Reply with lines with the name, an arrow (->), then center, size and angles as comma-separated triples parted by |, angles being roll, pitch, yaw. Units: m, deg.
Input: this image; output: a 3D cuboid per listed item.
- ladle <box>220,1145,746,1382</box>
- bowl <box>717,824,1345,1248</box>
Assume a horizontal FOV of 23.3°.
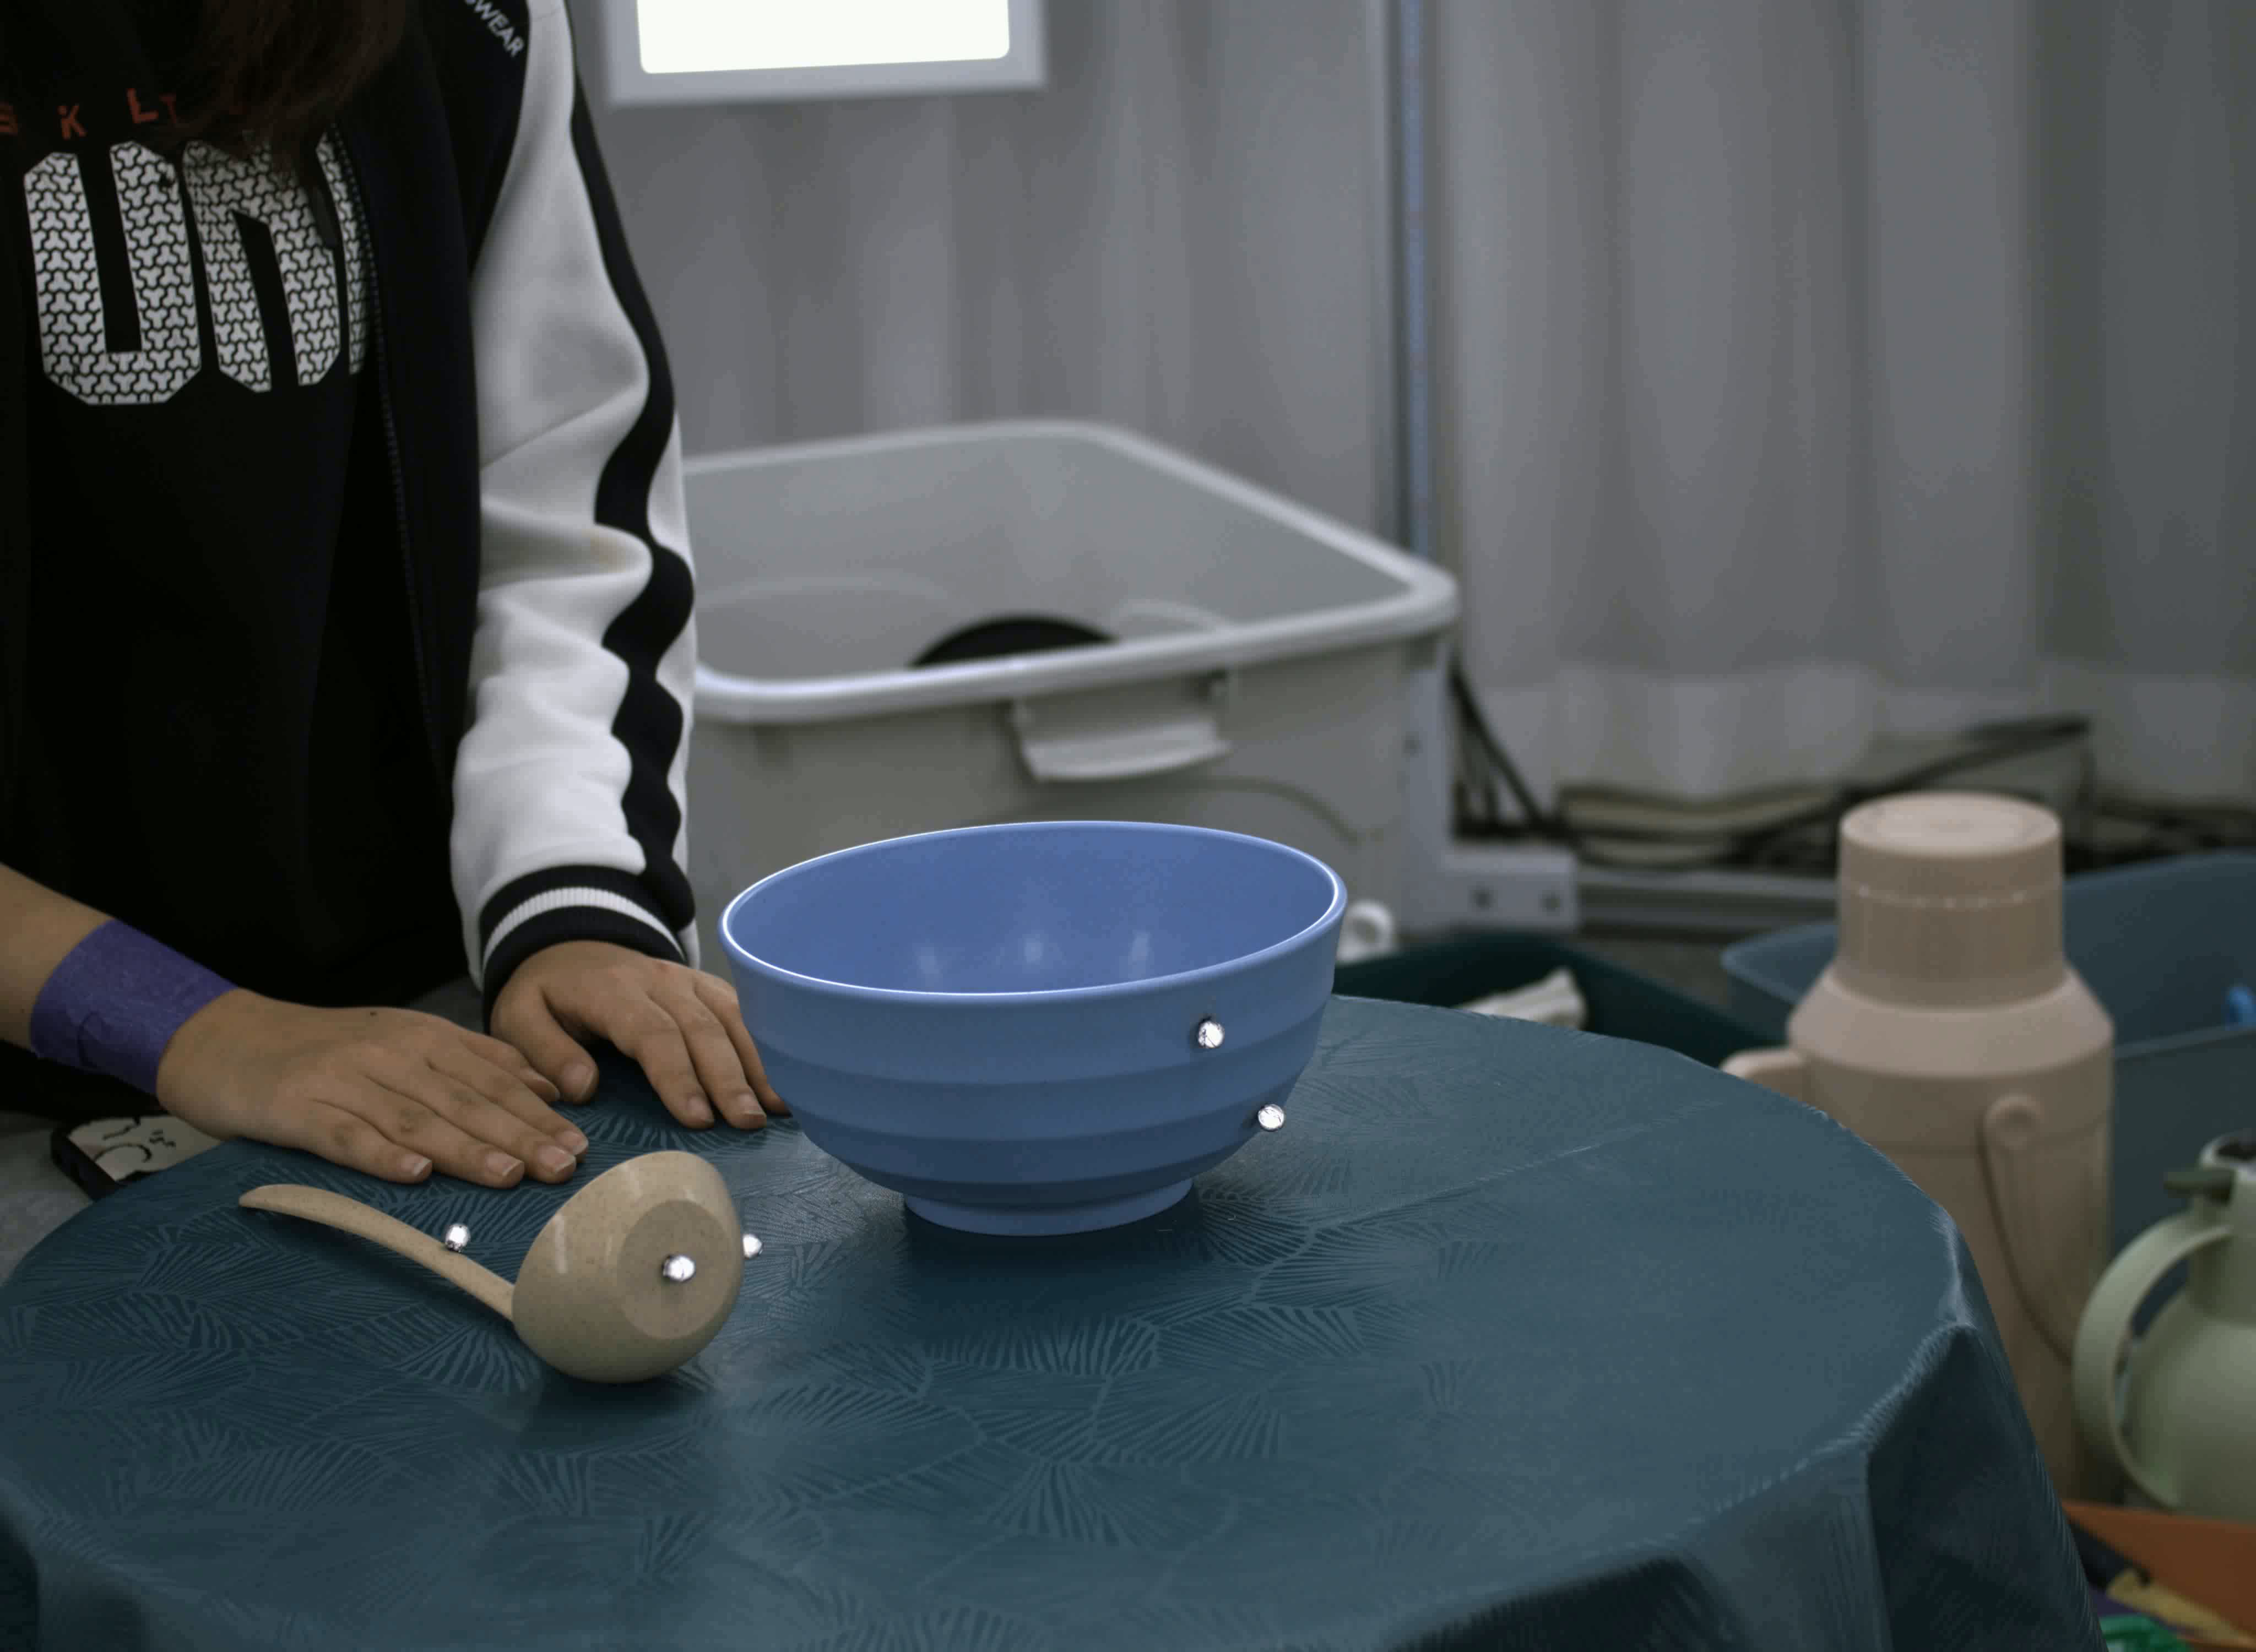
ladle -> -0.206, 0.108, 1.640 | 0.072, 0.072, 0.256 | -12, 17, -37
bowl -> -0.027, 0.072, 1.710 | 0.196, 0.095, 0.198 | -4, 15, 1
